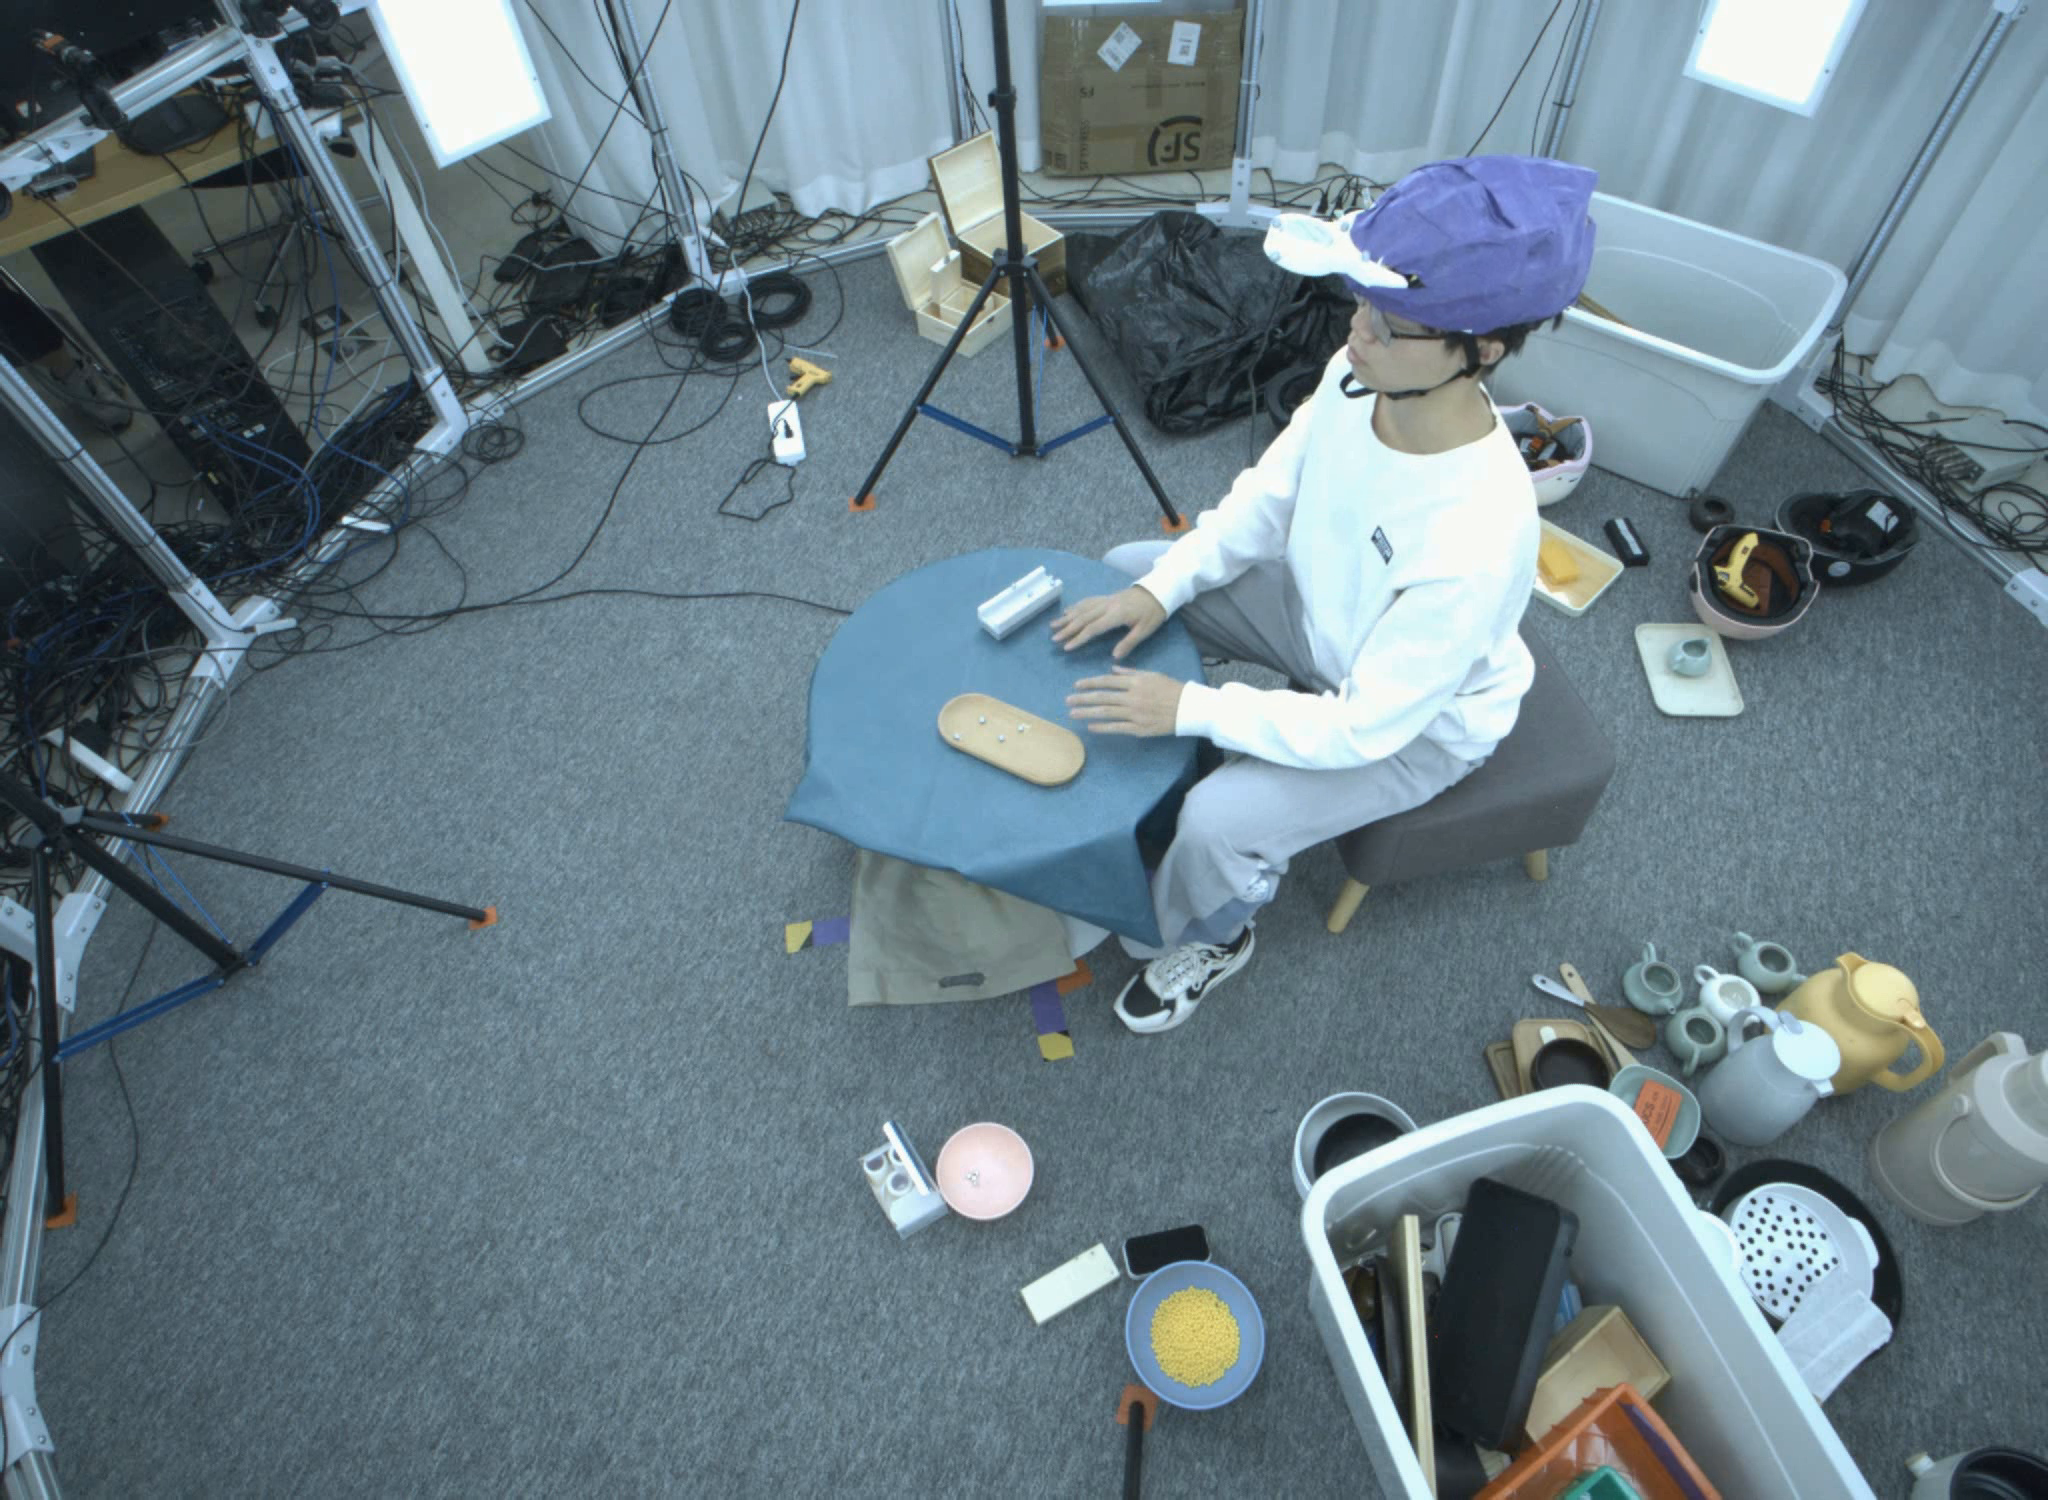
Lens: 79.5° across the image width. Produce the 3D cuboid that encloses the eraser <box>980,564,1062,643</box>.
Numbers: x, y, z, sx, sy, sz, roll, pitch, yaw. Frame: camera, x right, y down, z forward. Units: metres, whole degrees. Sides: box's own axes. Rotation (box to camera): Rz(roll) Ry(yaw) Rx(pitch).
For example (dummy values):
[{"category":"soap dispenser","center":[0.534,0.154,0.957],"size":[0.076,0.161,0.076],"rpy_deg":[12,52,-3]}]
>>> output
[{"category":"eraser","center":[-0.005,-0.229,1.919],"size":[0.049,0.047,0.135],"rpy_deg":[40,64,21]}]

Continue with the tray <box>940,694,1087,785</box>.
[{"category":"tray","center":[-0.017,-0.016,1.787],"size":[0.228,0.020,0.102],"rpy_deg":[24,59,16]}]
